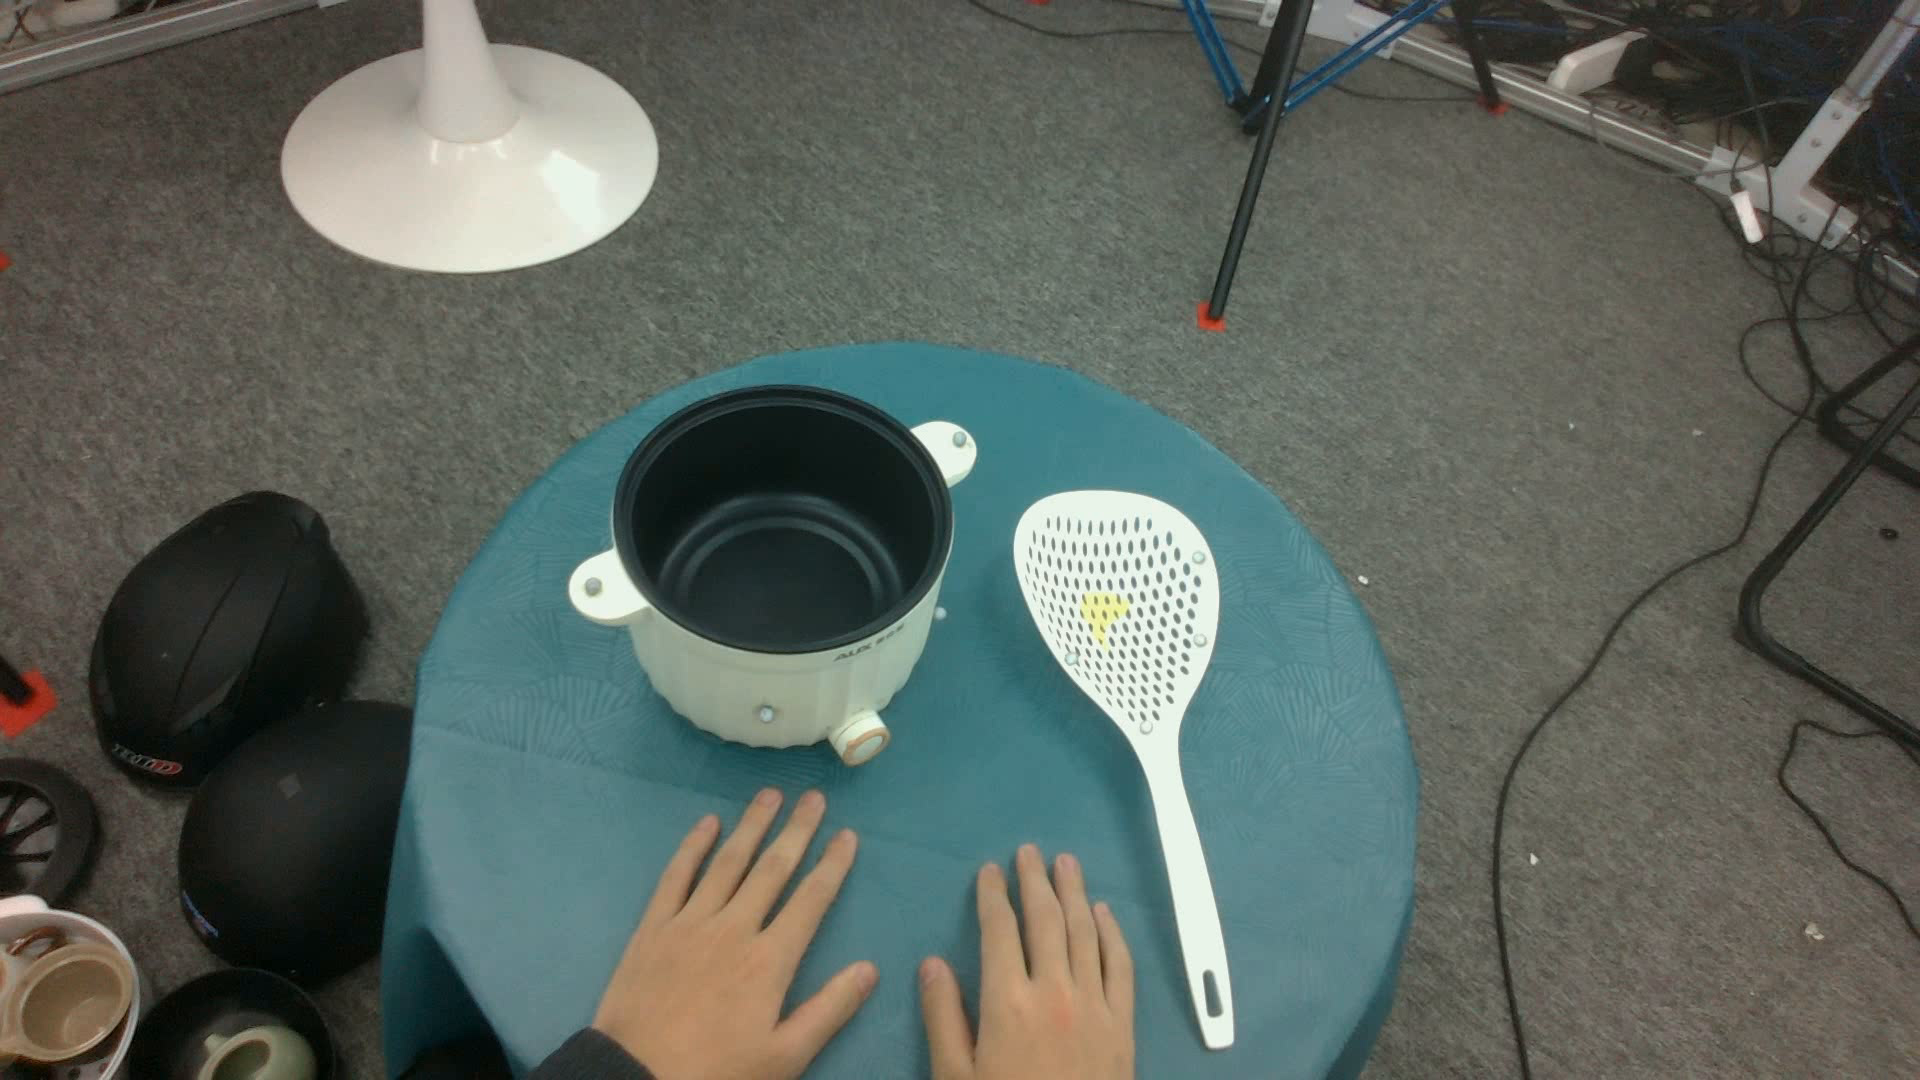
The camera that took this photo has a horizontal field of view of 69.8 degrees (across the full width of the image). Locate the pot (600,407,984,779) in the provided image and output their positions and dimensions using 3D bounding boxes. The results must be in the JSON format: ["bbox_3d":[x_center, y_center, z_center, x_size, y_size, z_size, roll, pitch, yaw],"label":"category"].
[{"bbox_3d":[-0.086,0.039,0.801,0.241,0.142,0.191,-29,57,-23],"label":"pot"}]

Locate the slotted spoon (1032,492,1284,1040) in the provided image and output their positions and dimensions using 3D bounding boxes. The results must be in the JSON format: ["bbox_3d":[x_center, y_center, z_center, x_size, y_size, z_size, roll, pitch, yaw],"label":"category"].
[{"bbox_3d":[0.130,0.117,0.822,0.137,0.050,0.349,-2,51,-16],"label":"slotted spoon"}]
